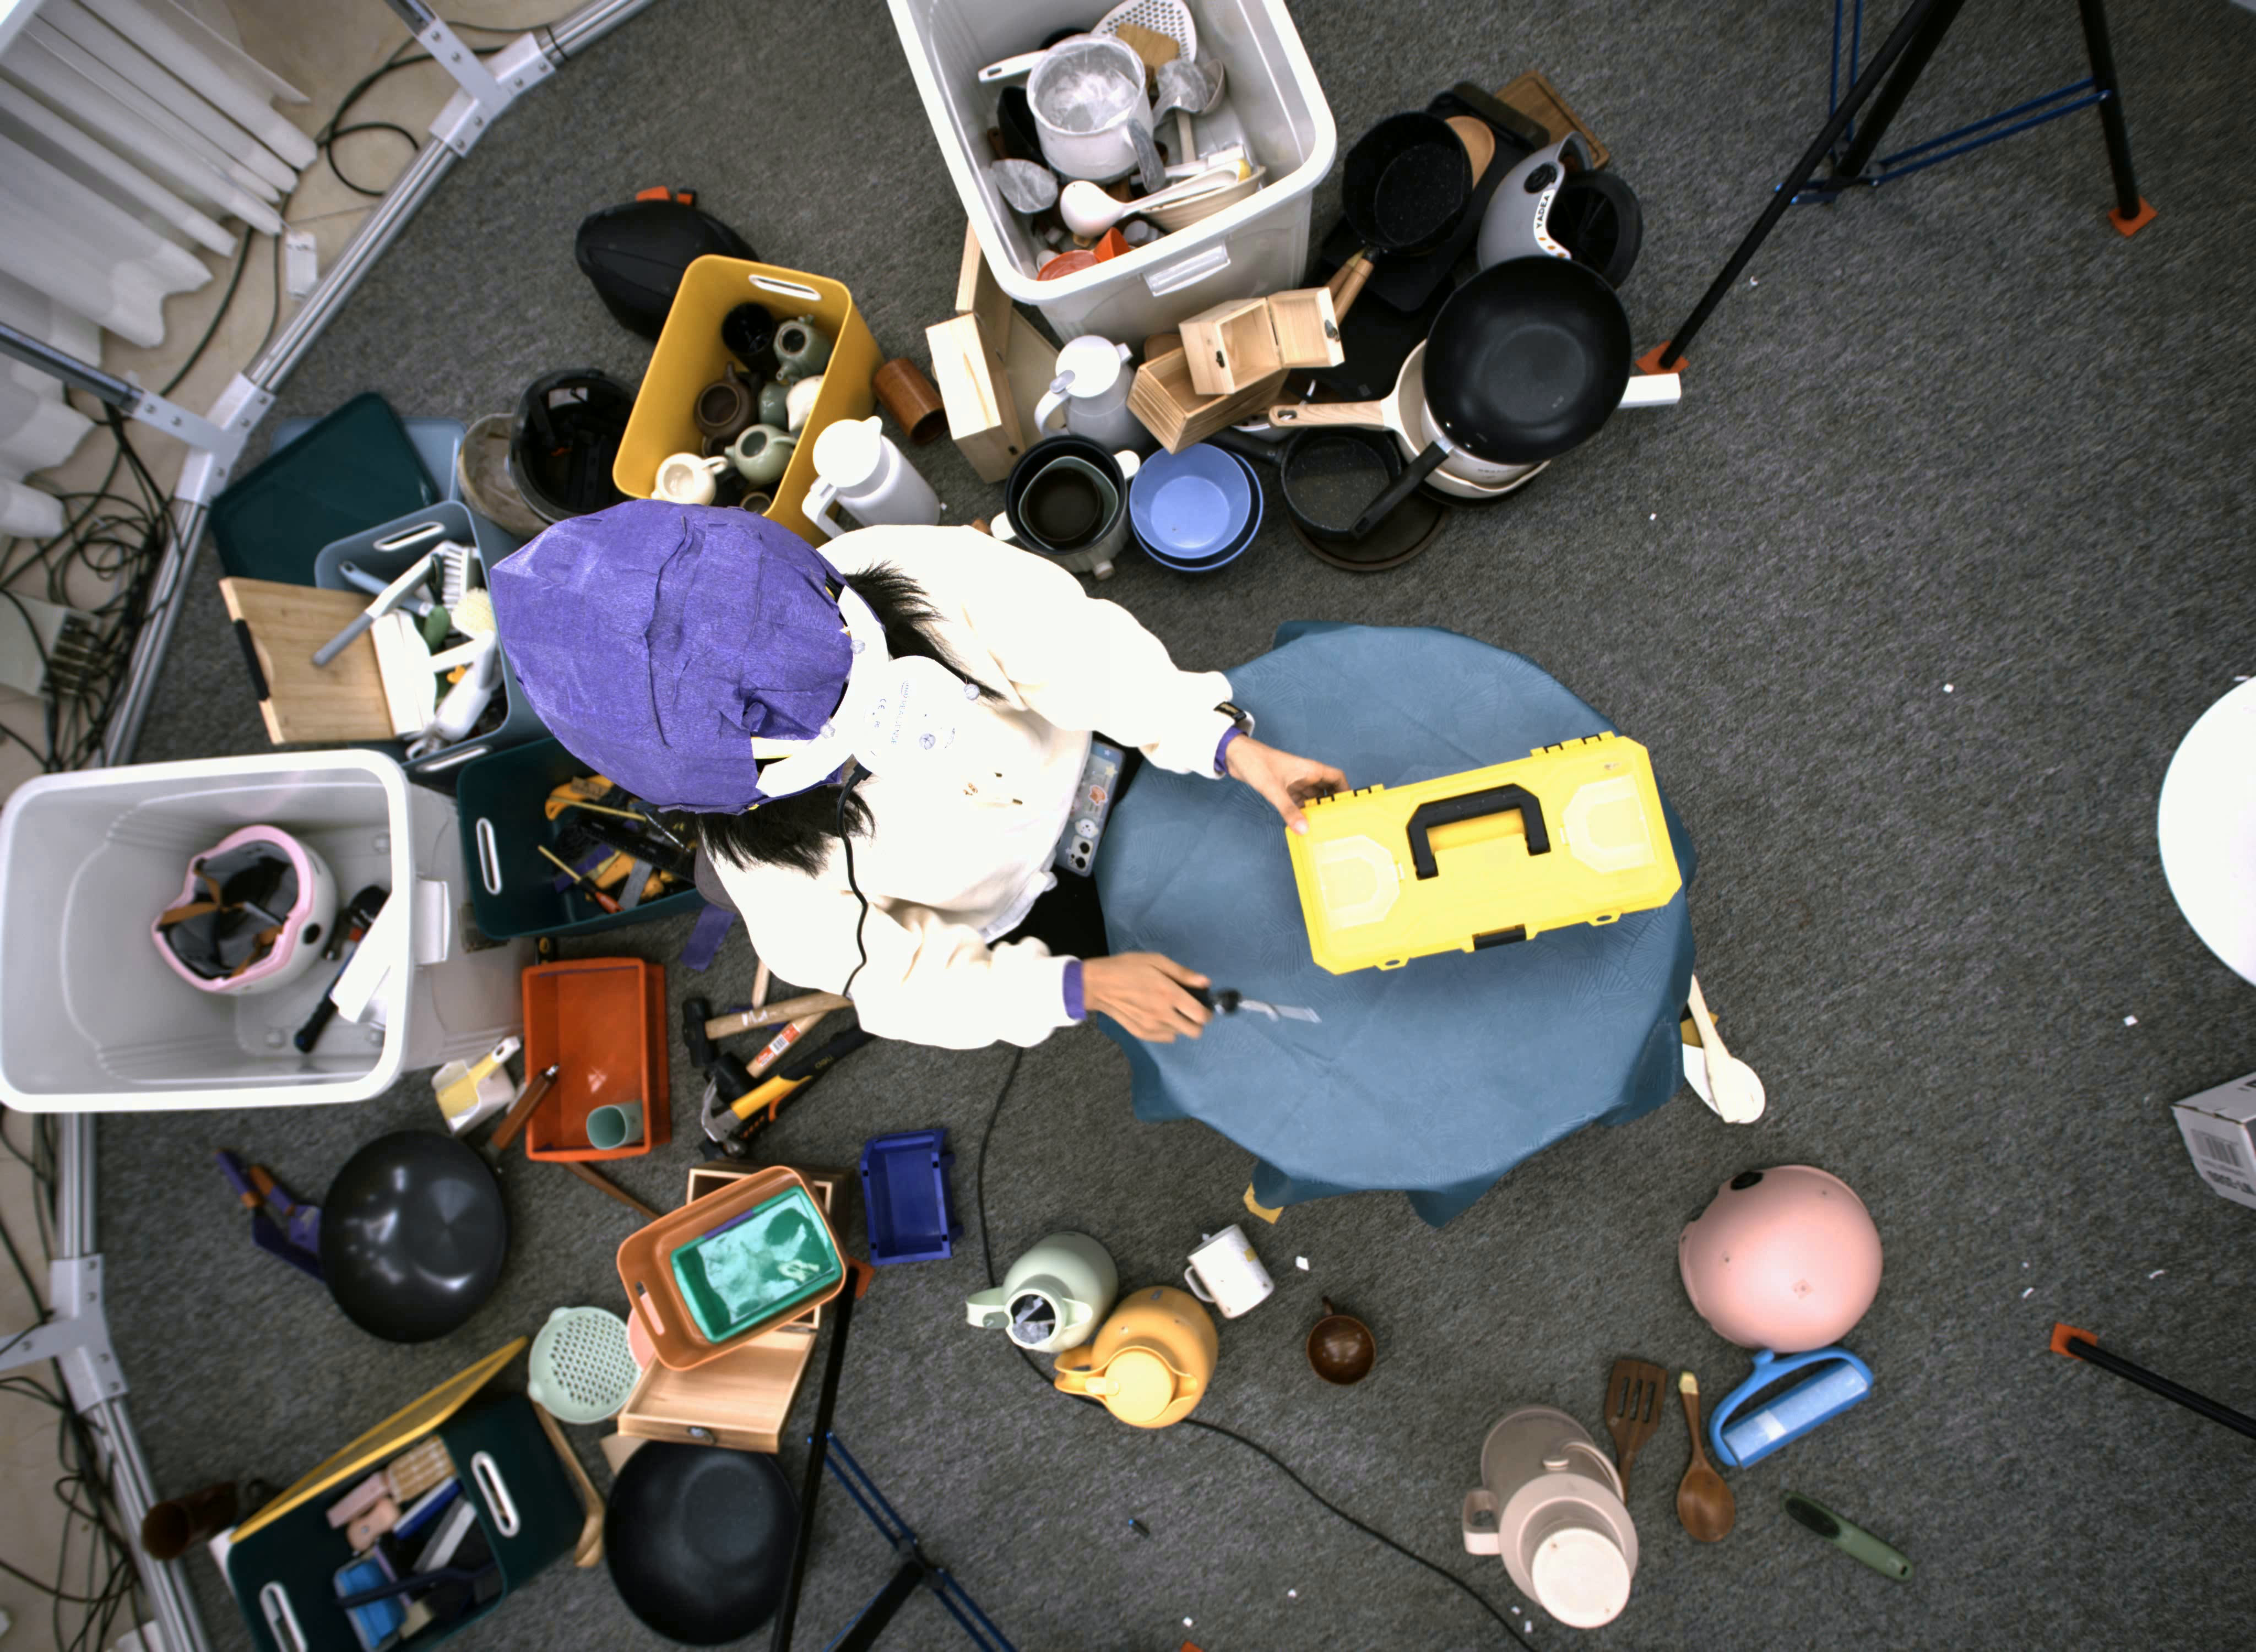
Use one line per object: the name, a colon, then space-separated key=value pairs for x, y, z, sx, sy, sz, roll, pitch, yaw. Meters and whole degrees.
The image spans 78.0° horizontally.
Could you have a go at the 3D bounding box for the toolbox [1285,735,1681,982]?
toolbox: x=0.343 y=0.034 z=1.361 sx=0.353 sy=0.173 sz=0.180 roll=-13 pitch=83 yaw=9

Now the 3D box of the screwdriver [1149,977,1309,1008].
screwdriver: x=0.093 y=0.163 z=1.317 sx=0.197 sy=0.031 sz=0.031 roll=0 pitch=83 yaw=48
